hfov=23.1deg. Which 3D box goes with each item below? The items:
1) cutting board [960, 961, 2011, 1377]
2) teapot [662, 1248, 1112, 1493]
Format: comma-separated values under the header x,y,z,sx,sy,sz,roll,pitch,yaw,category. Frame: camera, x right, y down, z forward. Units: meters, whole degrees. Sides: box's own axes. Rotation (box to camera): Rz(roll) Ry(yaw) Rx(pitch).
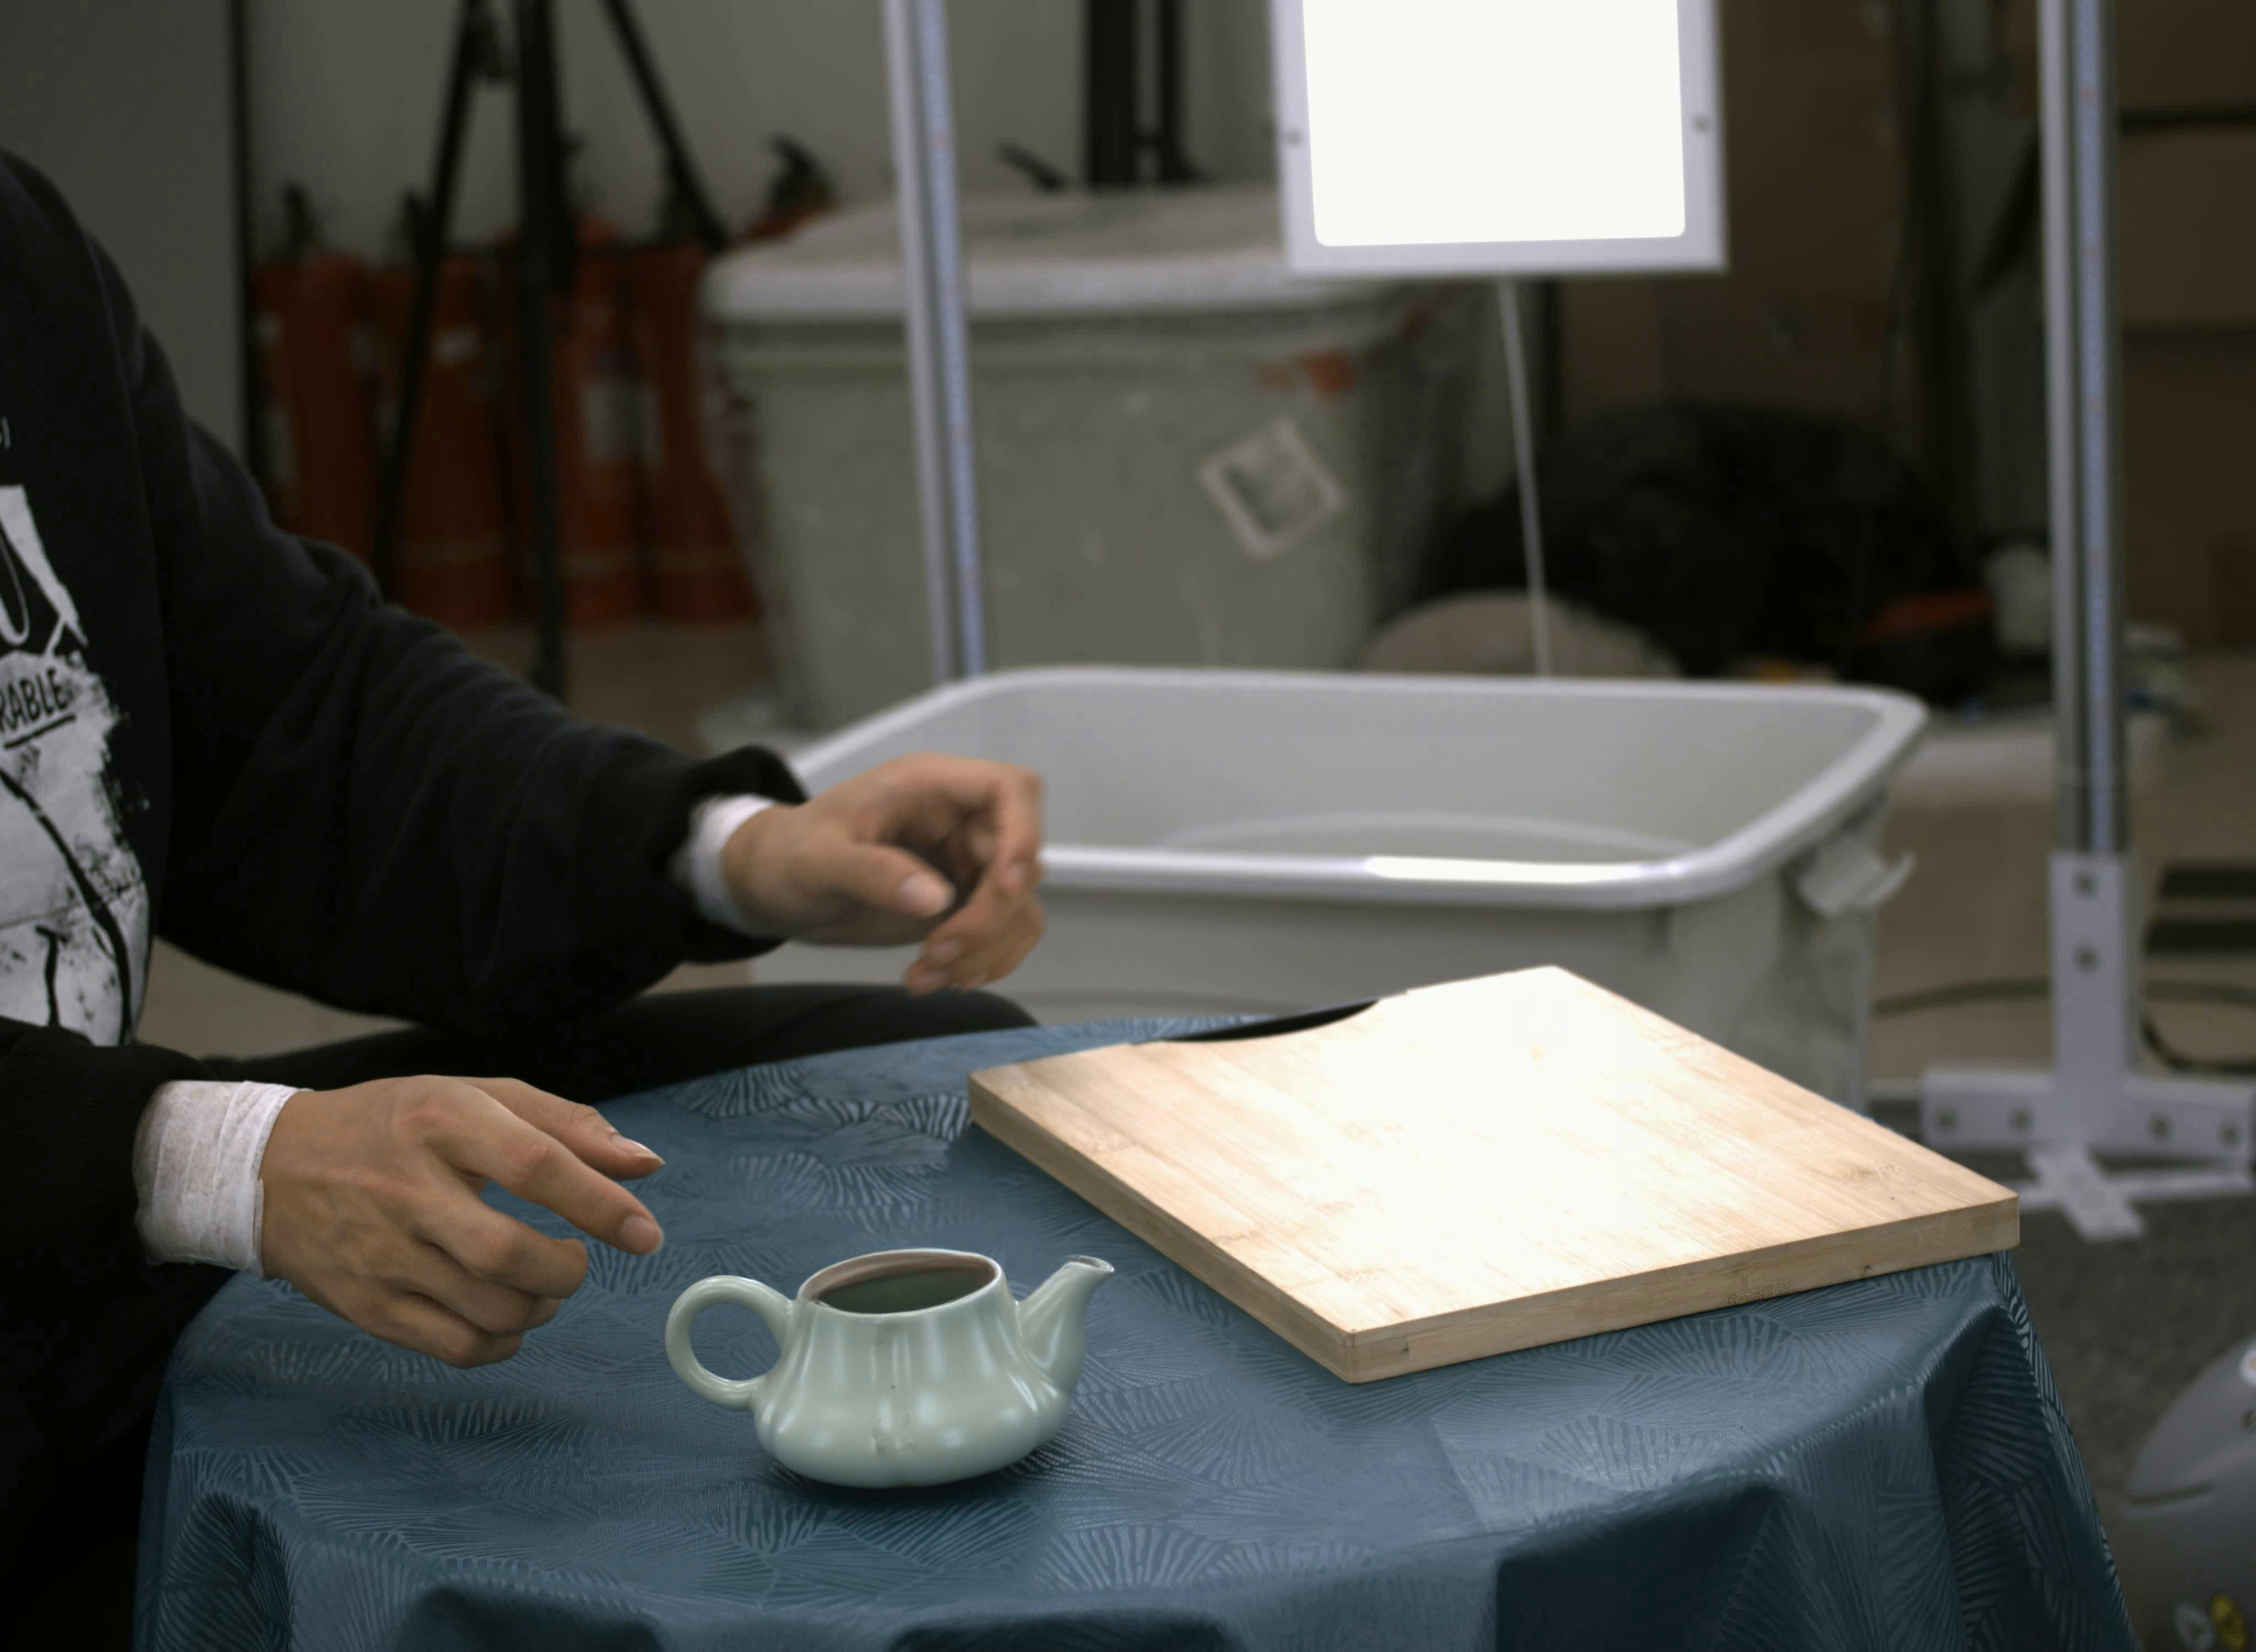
x,y,z,sx,sy,sz,roll,pitch,yaw,category
0.113,0.112,1.884,0.246,0.023,0.353,-10,15,-20,cutting board
-0.071,0.162,1.654,0.137,0.061,0.096,-4,15,2,teapot
